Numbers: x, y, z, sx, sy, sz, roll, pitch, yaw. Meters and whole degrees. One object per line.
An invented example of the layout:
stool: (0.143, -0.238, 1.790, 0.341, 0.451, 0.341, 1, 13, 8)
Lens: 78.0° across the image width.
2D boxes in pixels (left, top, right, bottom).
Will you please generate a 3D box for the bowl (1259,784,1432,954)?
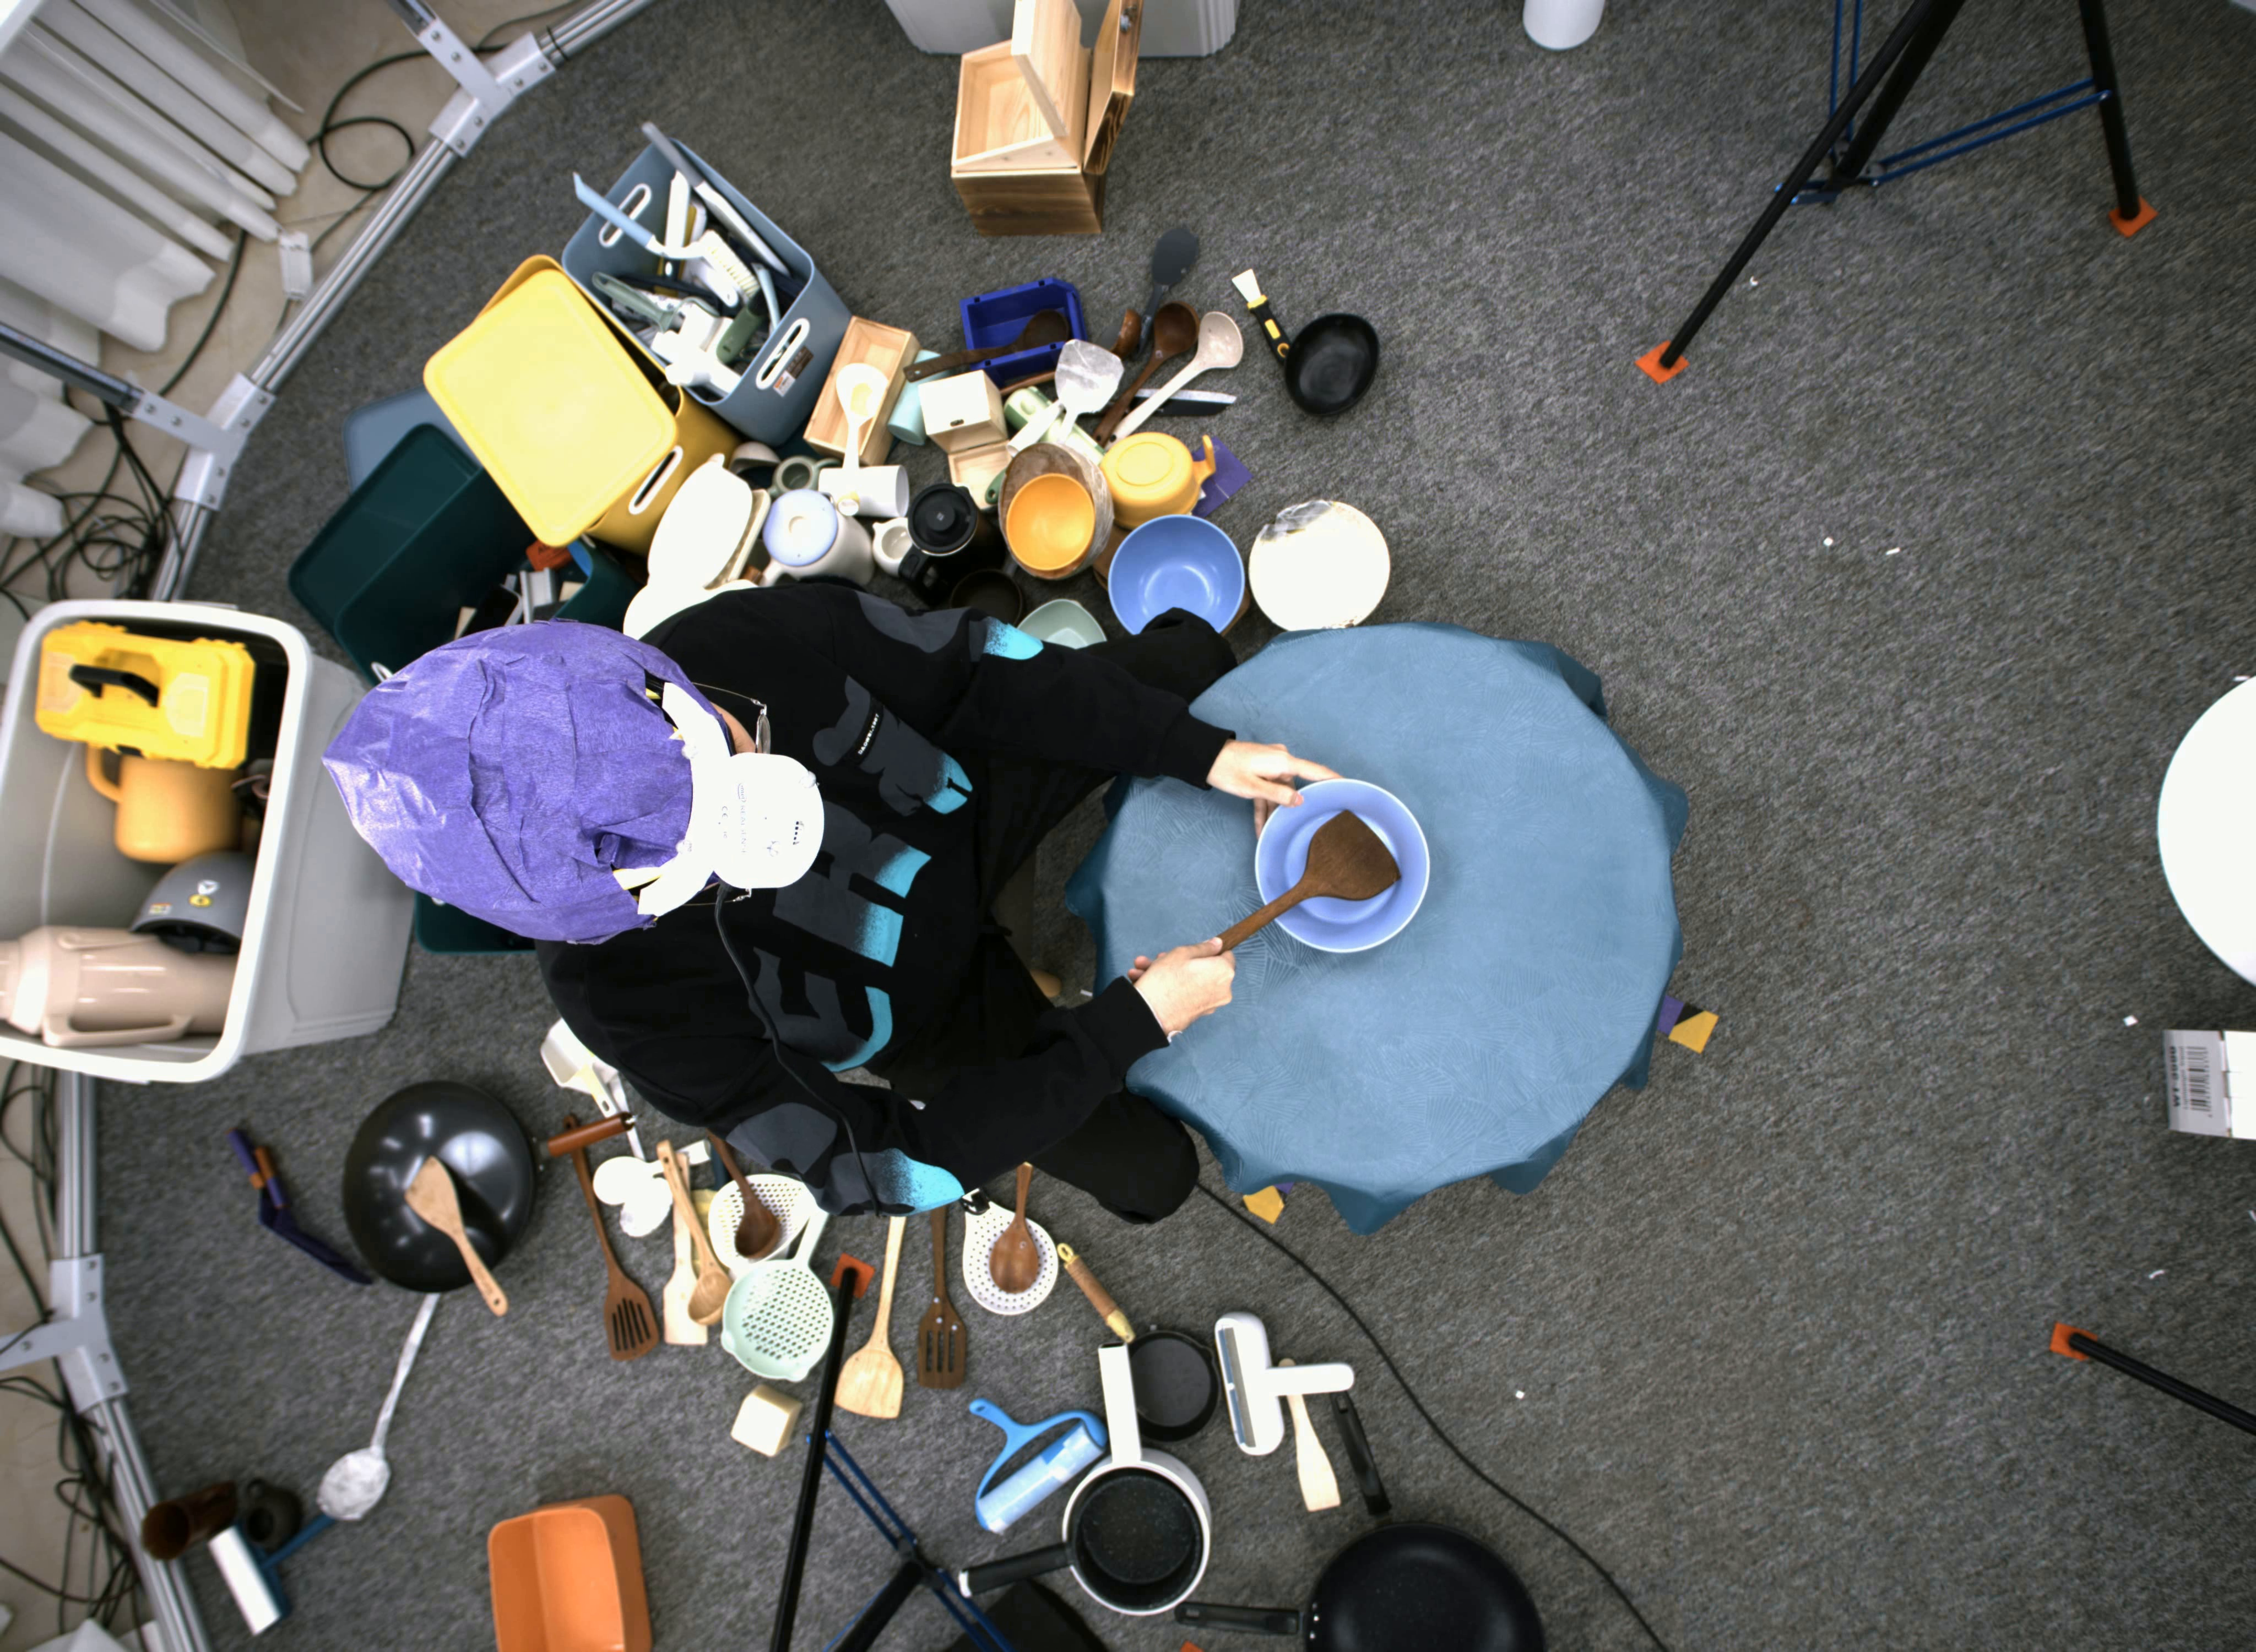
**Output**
bowl: (0.225, 0.044, 1.440, 0.176, 0.070, 0.176, 0, 91, 8)

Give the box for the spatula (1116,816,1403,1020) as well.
spatula: (0.131, 0.093, 1.355, 0.379, 0.016, 0.095, -29, 75, -35)
